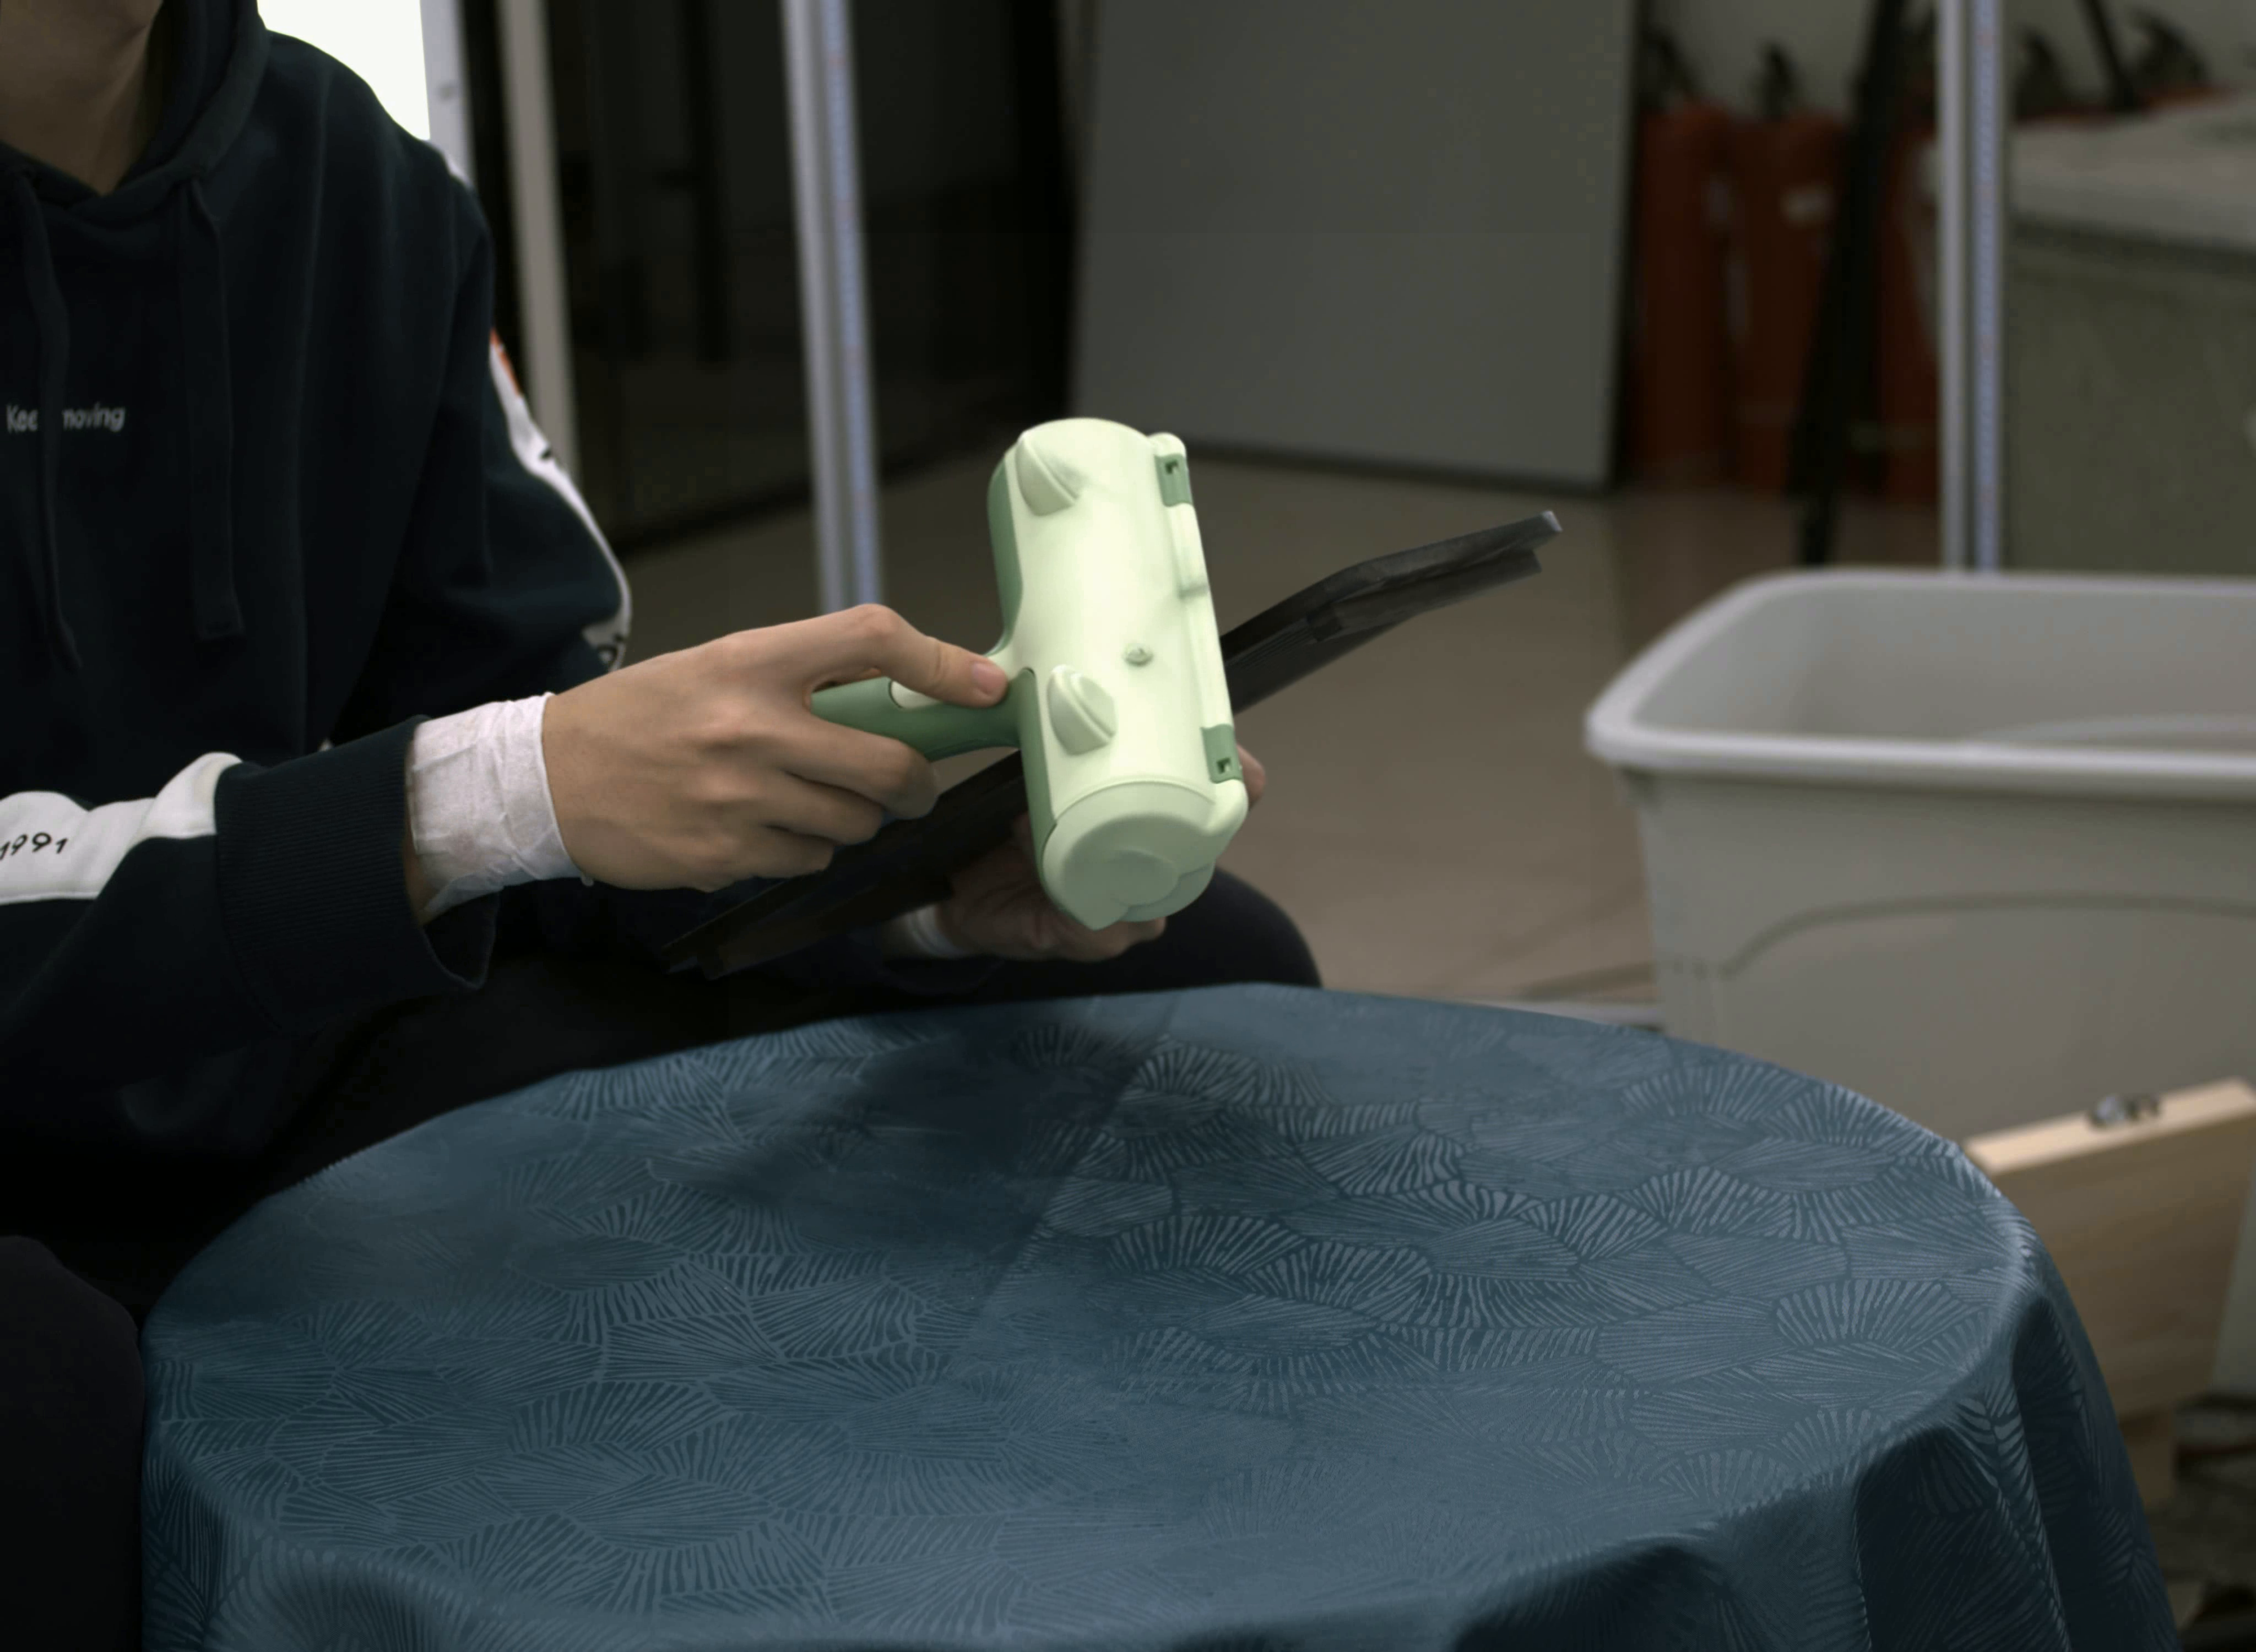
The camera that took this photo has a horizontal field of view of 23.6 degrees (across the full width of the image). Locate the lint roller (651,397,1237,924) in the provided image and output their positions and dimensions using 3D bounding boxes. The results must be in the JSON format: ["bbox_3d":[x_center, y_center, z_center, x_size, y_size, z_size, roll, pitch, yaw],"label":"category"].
[{"bbox_3d":[-0.065,-0.050,1.664,0.181,0.082,0.200,-11,42,3],"label":"lint roller"}]

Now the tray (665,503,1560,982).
[{"bbox_3d":[-0.004,-0.025,1.810,0.308,0.019,0.167,-30,-6,30],"label":"tray"}]
